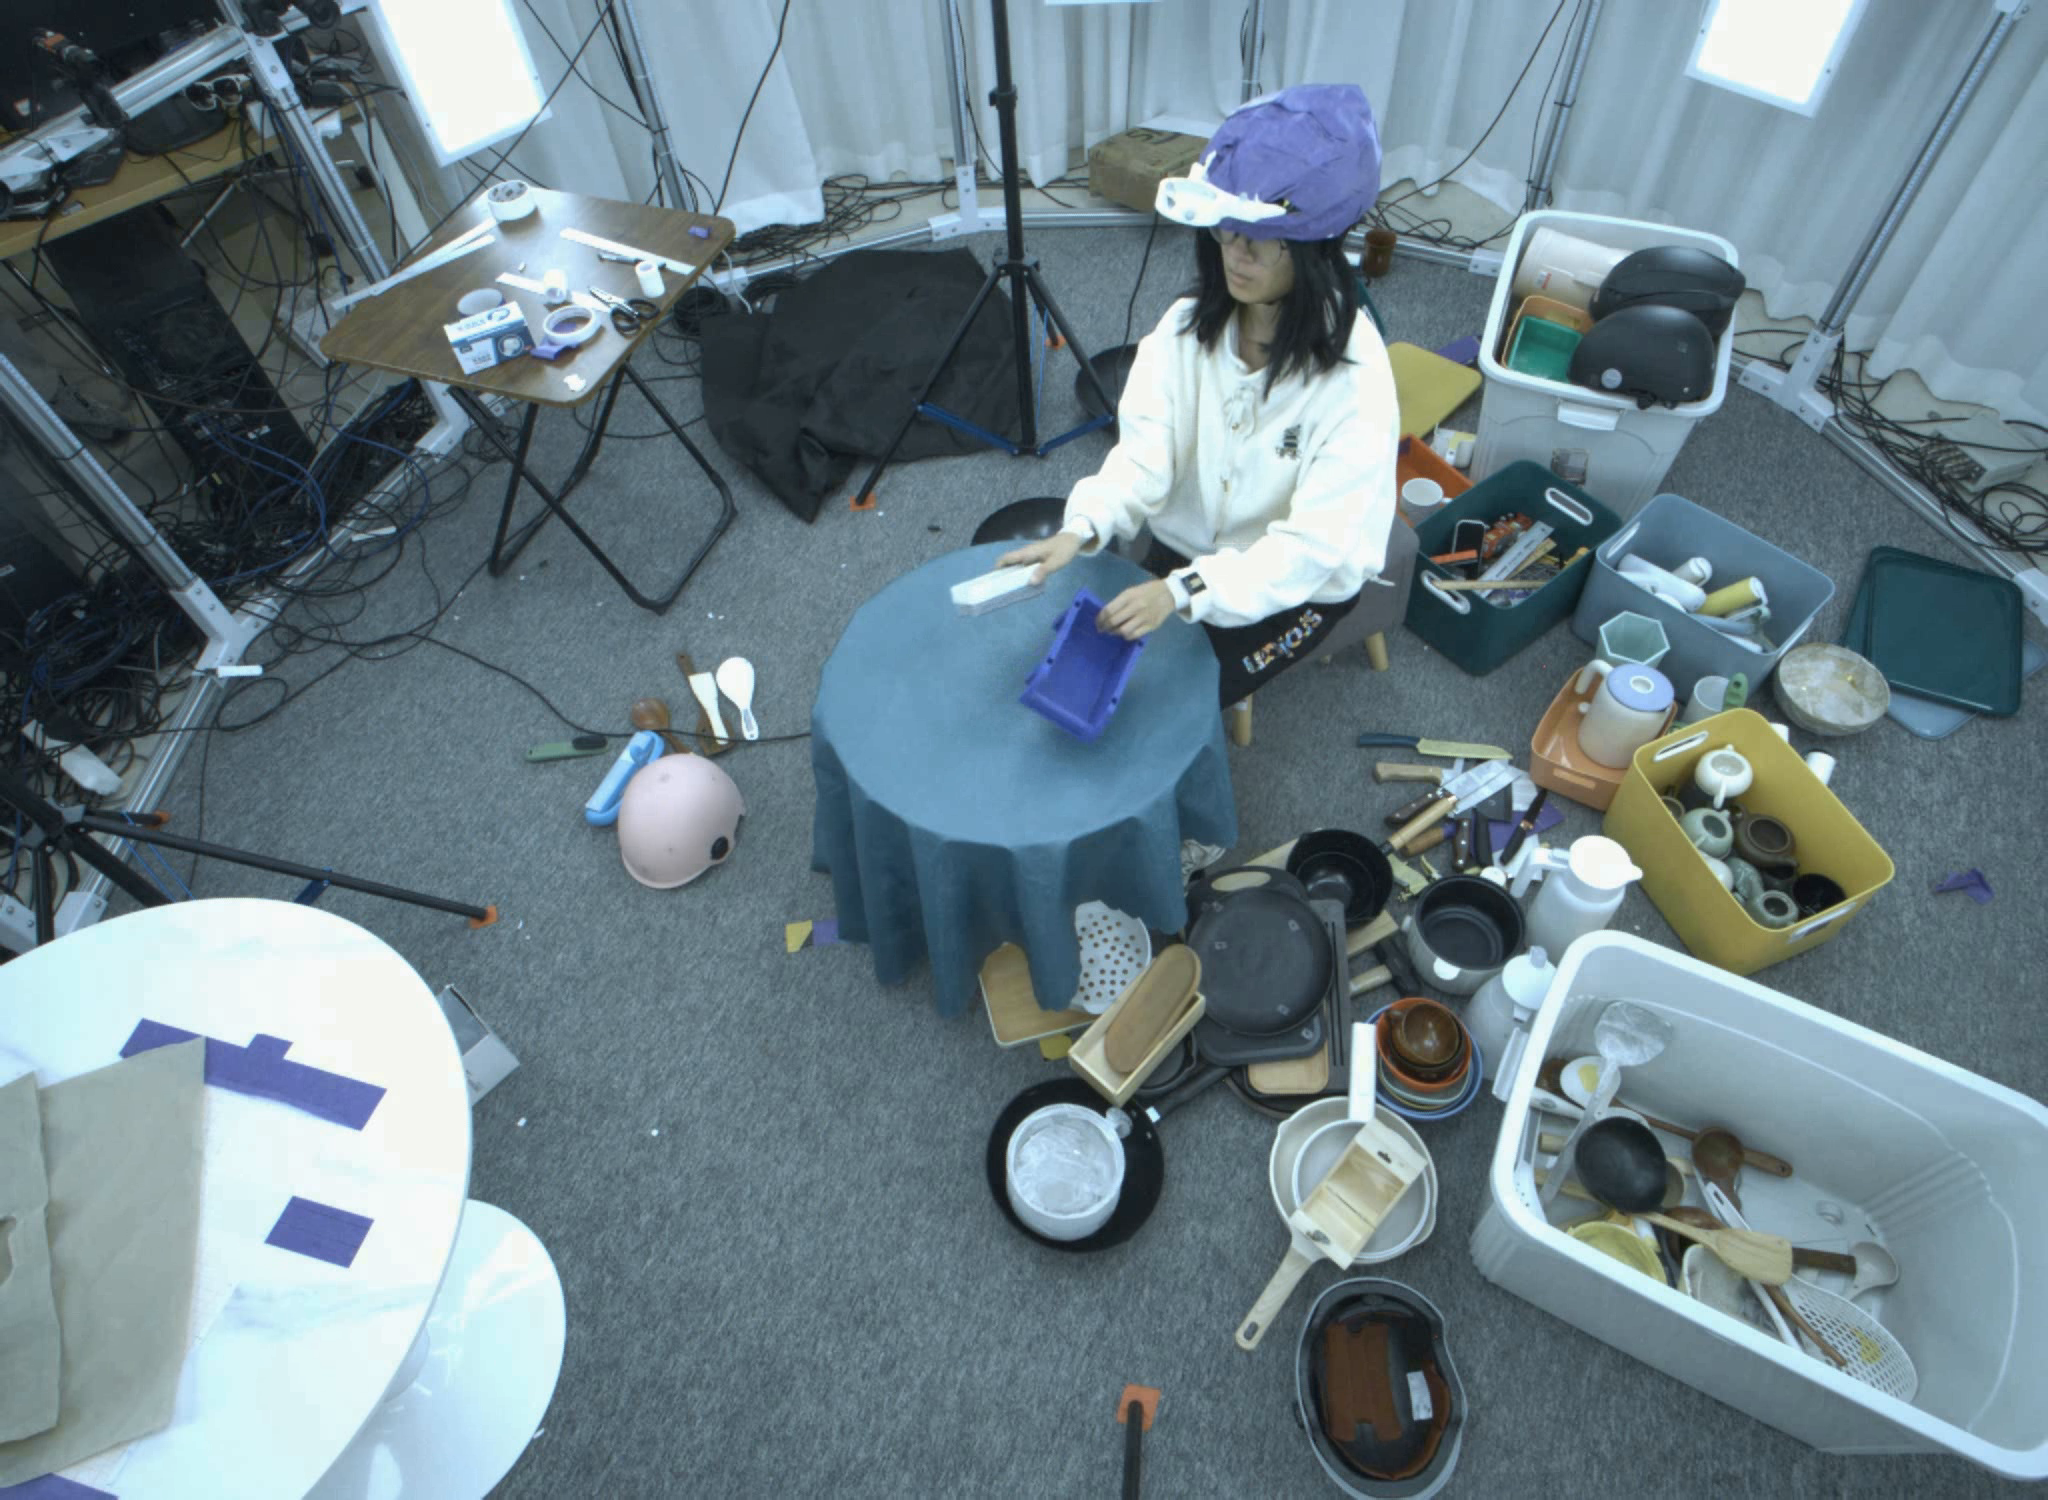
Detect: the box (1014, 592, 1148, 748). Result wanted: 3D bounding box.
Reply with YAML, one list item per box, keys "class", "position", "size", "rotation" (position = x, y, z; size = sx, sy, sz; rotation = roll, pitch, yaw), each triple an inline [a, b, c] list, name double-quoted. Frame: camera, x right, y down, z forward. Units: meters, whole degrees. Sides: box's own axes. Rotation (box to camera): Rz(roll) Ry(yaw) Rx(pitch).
- class: "box"
  position: [0.081, -0.110, 1.751]
  size: [0.126, 0.081, 0.179]
  rotation: [33, 61, -13]

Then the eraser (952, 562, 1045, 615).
- class: "eraser"
  position: [-0.034, -0.234, 1.769]
  size: [0.136, 0.047, 0.048]
  rotation: [-27, 22, -35]
